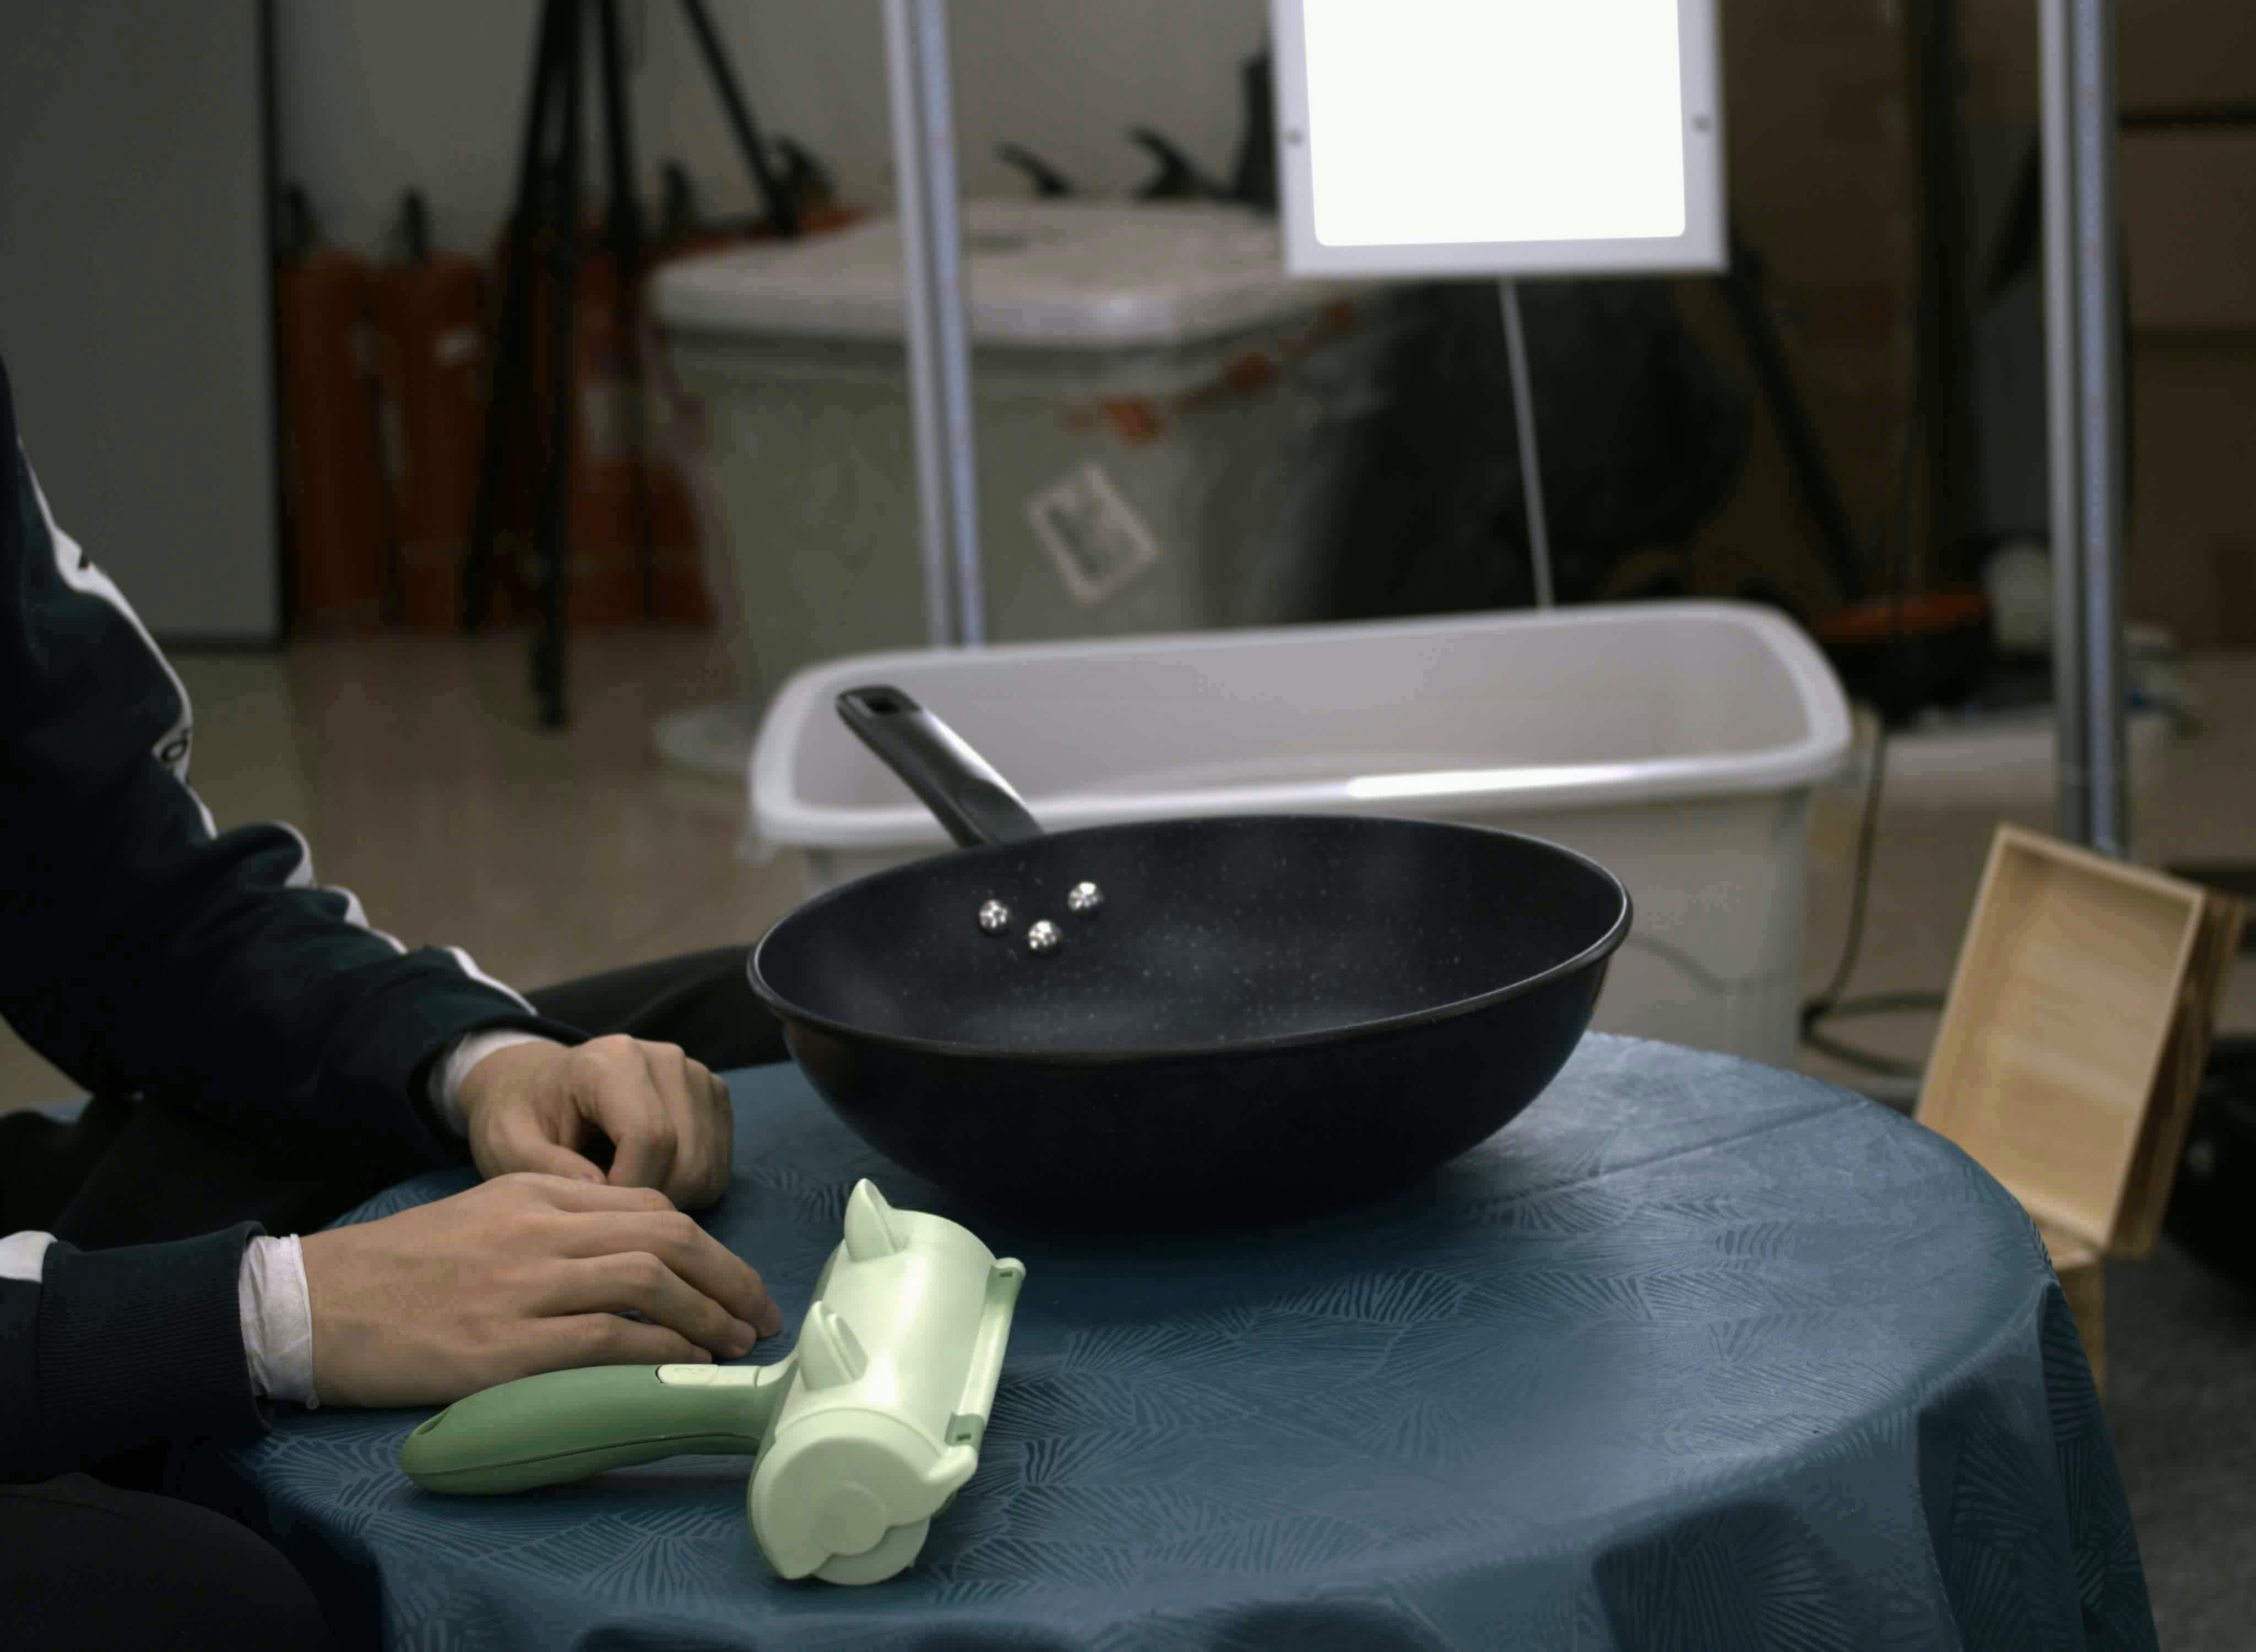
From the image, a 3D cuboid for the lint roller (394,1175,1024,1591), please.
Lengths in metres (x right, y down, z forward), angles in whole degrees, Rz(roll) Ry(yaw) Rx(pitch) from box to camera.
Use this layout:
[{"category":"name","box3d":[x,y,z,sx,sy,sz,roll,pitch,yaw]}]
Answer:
[{"category":"lint roller","box3d":[-0.129,0.160,1.648,0.183,0.082,0.197,1,15,5]}]

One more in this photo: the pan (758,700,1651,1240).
[{"category":"pan","box3d":[-0.006,0.051,1.984,0.304,0.112,0.484,-9,15,-21]}]
